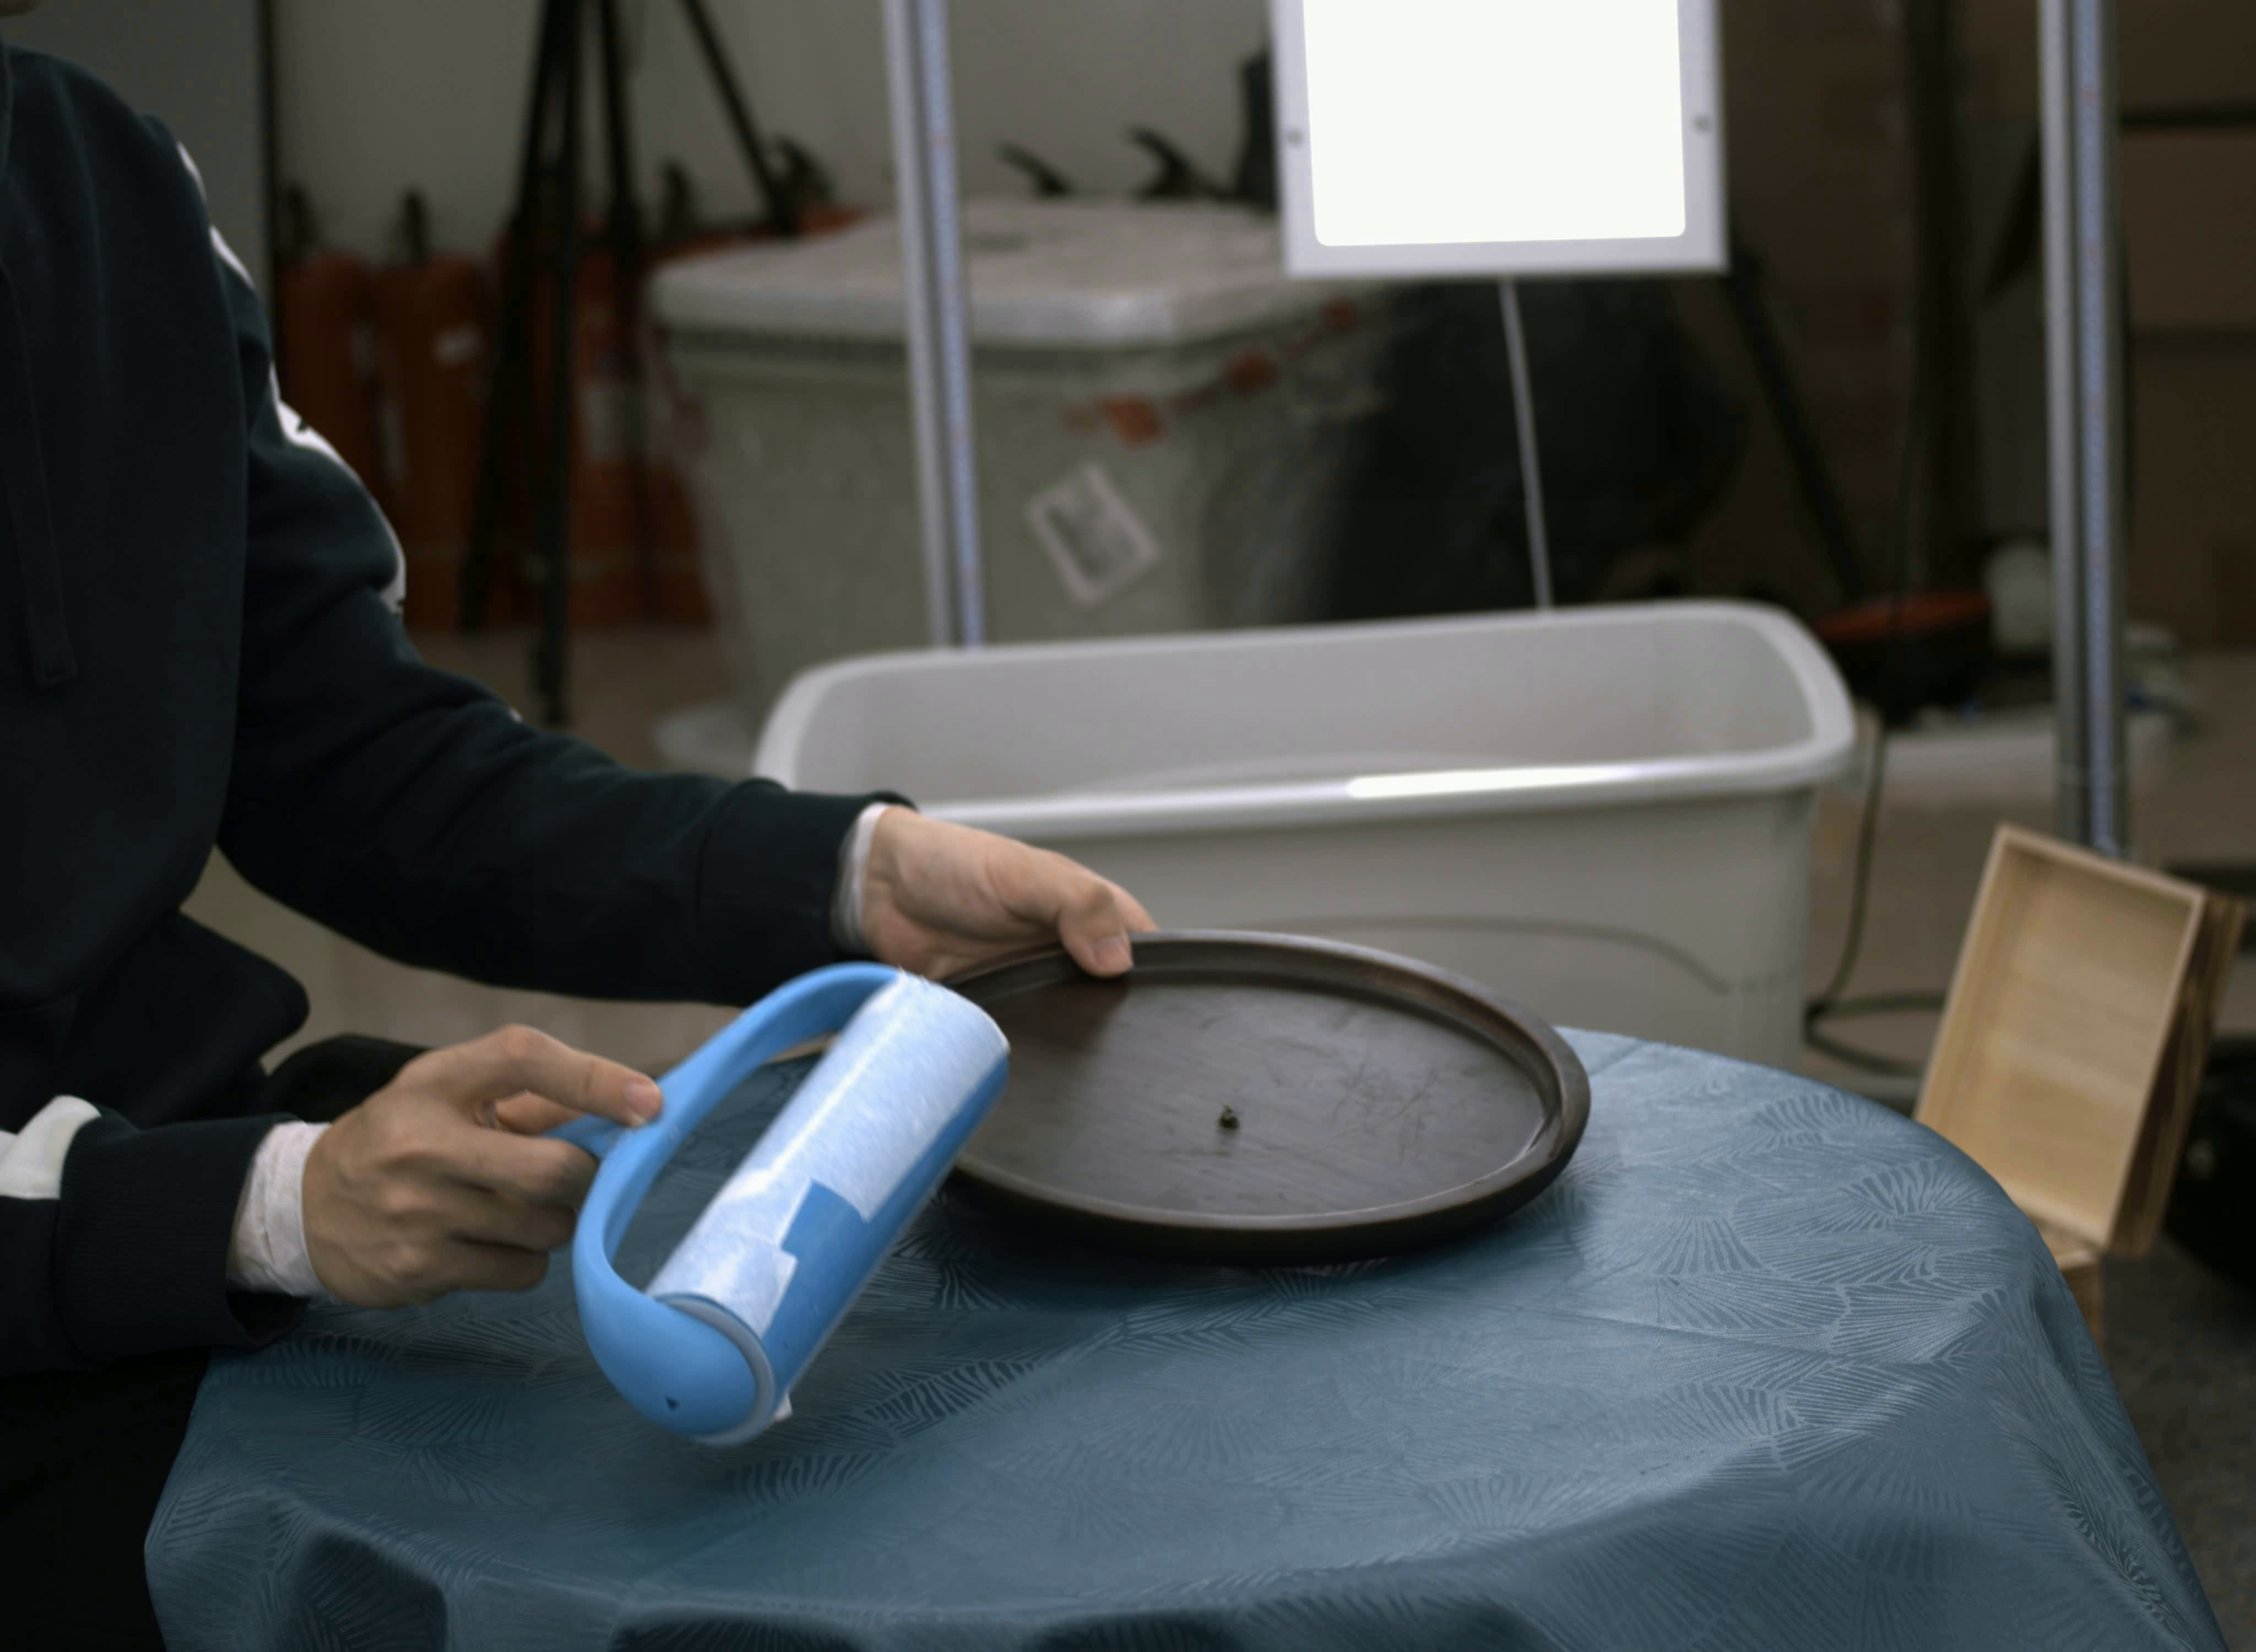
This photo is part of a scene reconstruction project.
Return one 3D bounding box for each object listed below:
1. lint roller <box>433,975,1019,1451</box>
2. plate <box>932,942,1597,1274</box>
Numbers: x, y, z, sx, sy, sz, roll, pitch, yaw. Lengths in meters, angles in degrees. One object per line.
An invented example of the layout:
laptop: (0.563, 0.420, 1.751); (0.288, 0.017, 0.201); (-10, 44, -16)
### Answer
lint roller: (-0.147, 0.122, 1.739); (0.183, 0.068, 0.225); (-4, 27, 23)
plate: (0.035, 0.094, 1.892); (0.254, 0.029, 0.254); (1, 21, -2)
